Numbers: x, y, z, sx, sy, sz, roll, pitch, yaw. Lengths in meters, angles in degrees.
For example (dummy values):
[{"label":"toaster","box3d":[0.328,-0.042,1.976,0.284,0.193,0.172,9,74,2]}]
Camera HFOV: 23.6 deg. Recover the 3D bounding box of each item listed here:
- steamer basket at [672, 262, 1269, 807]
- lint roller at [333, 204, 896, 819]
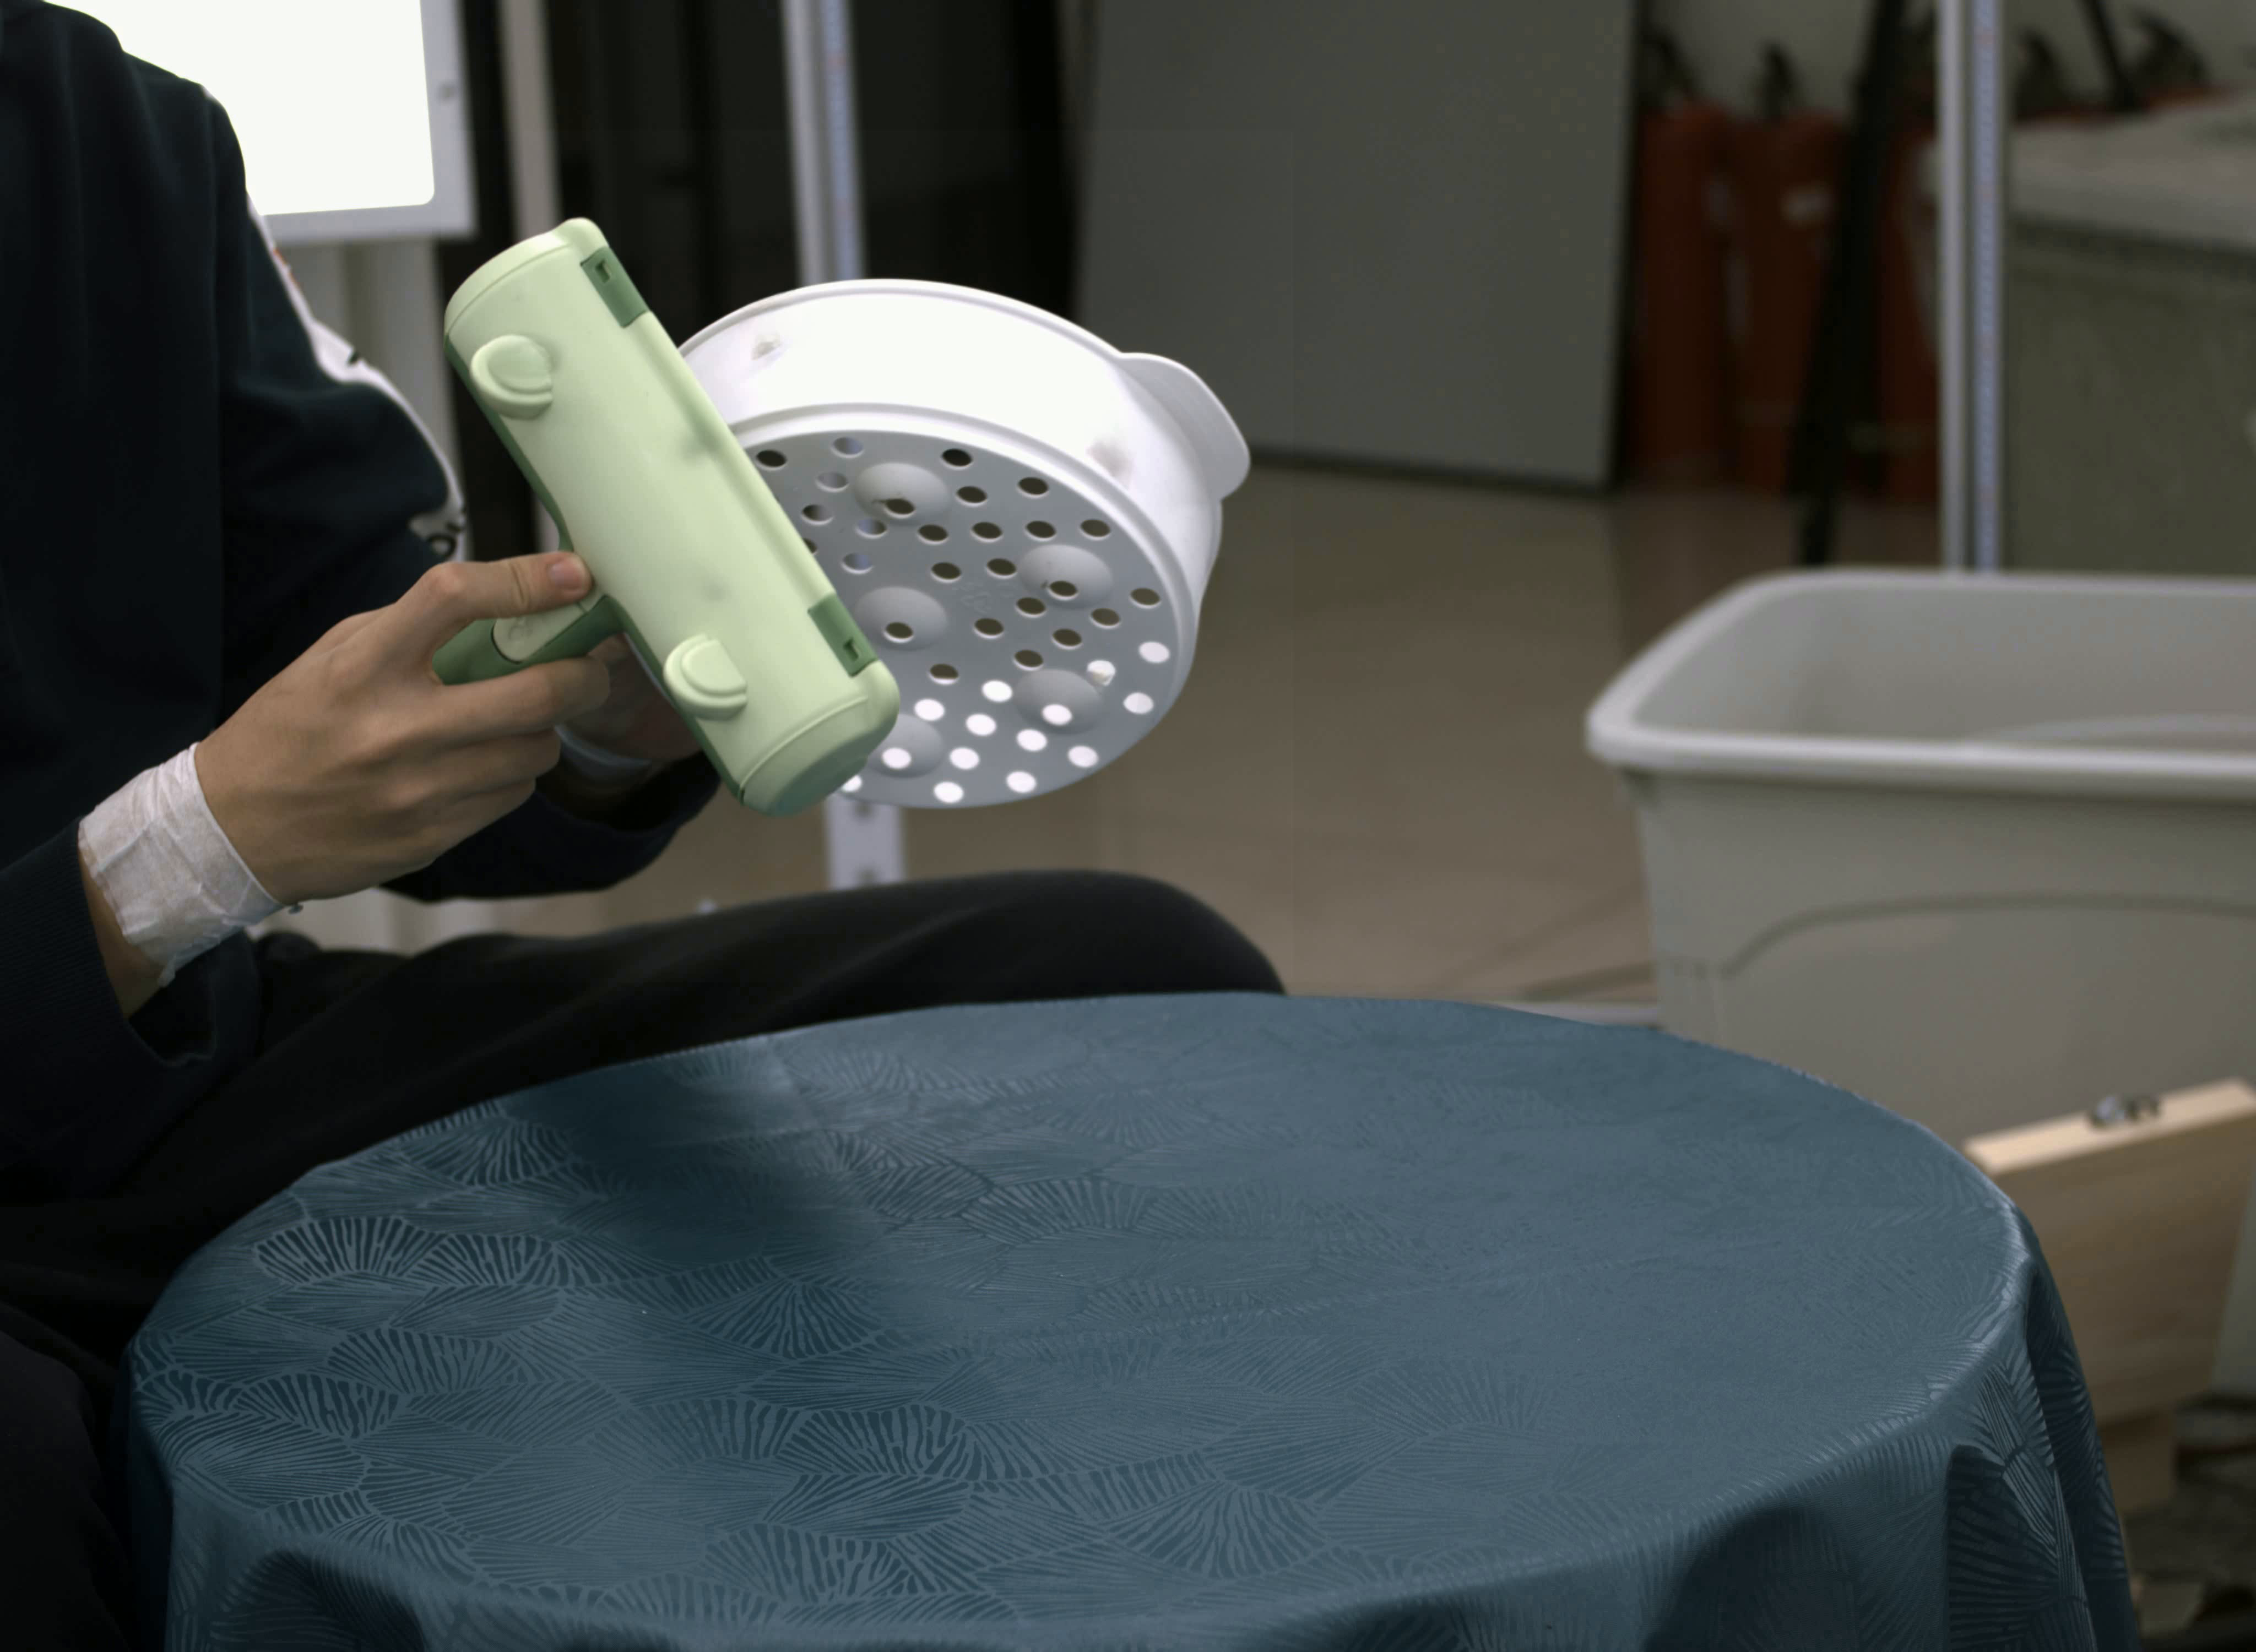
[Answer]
[{"label":"steamer basket","box3d":[-0.065,-0.089,1.771,0.231,0.200,0.069,-14,44,26]},{"label":"lint roller","box3d":[-0.189,-0.064,1.685,0.183,0.200,0.081,-37,-14,13]}]
